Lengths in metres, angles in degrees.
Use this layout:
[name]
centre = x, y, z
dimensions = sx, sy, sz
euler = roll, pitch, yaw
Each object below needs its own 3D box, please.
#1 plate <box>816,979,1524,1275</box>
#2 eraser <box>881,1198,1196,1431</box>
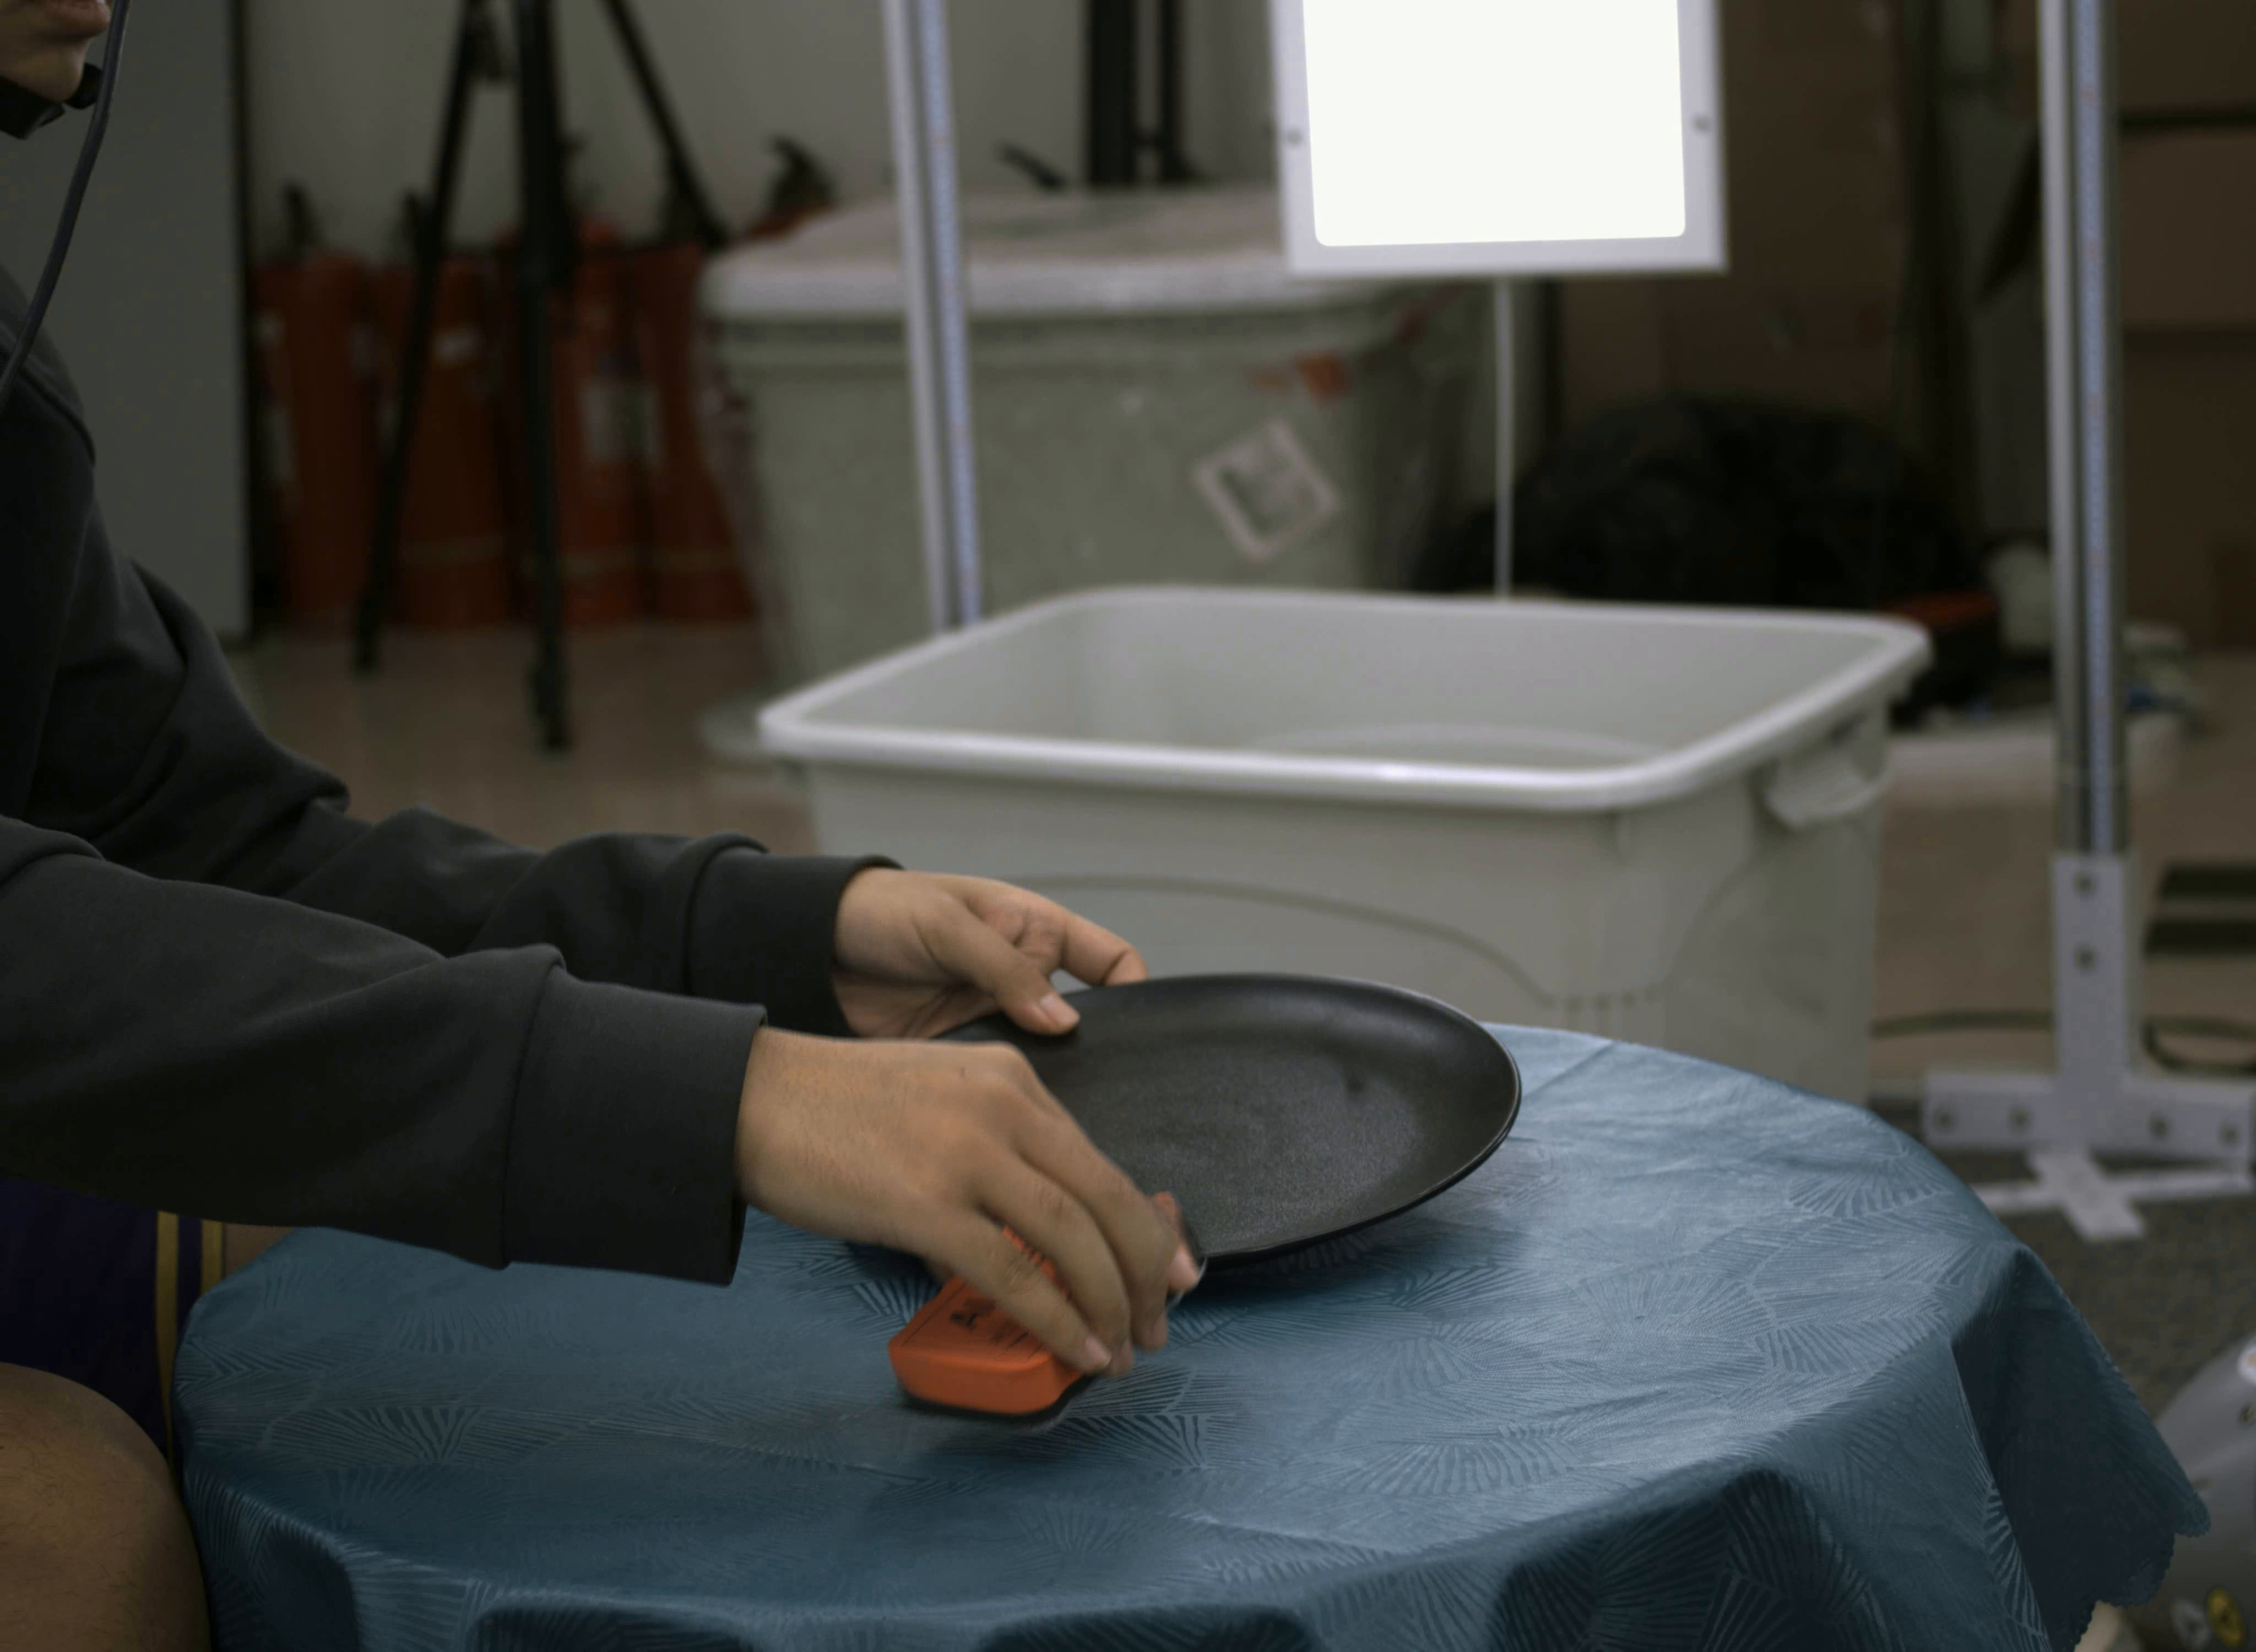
[plate]
centre = 0.015, 0.107, 1.884
dimensions = 0.244, 0.023, 0.244
euler = -7, 19, 1
[eraser]
centre = -0.026, 0.148, 1.683
dimensions = 0.060, 0.023, 0.105
euler = 4, 25, 31
